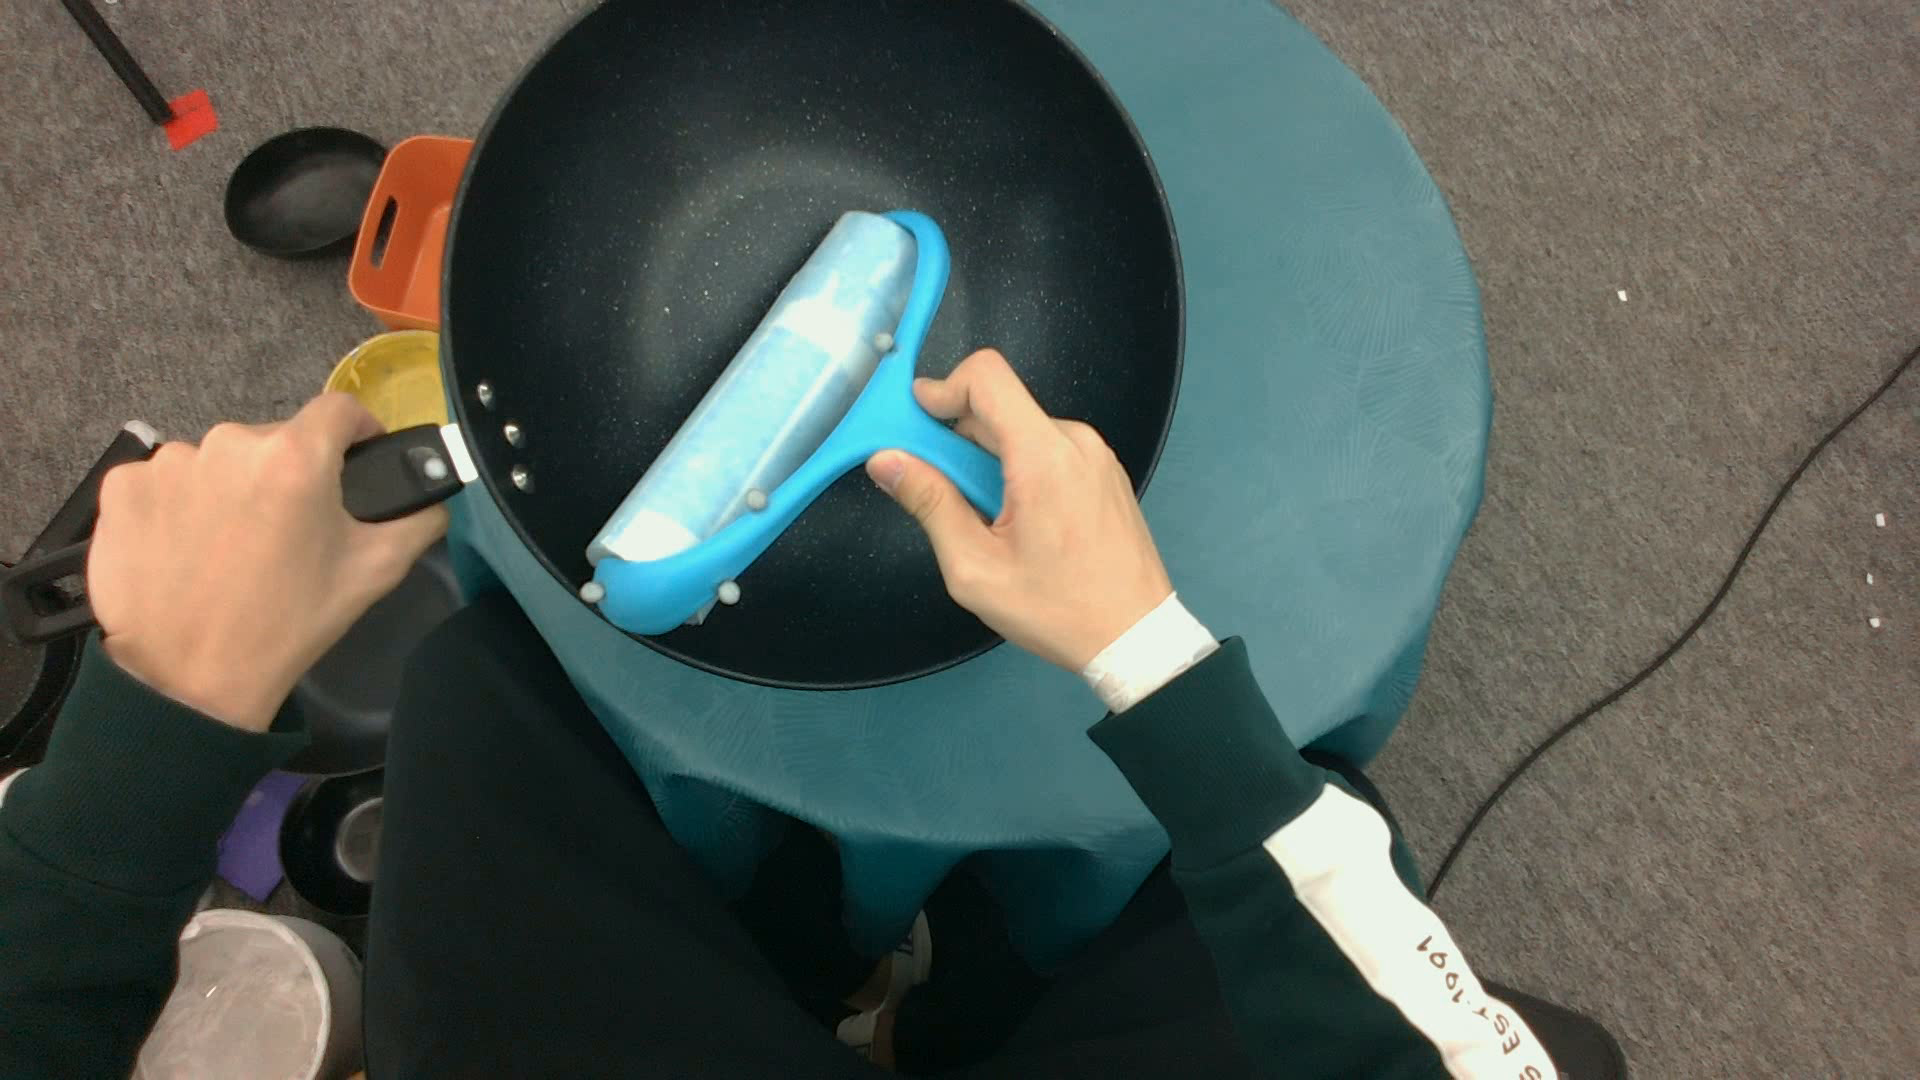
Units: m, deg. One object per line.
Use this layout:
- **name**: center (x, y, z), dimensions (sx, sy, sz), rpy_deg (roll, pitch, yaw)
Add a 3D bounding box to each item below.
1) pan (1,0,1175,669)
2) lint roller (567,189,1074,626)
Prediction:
- **pan**: center (-0.137, -0.070, 0.582), dimensions (0.478, 0.111, 0.310), rpy_deg (-23, 101, -12)
- **lint roller**: center (-0.037, -0.044, 0.567), dimensions (0.180, 0.067, 0.230), rpy_deg (19, 62, 16)
